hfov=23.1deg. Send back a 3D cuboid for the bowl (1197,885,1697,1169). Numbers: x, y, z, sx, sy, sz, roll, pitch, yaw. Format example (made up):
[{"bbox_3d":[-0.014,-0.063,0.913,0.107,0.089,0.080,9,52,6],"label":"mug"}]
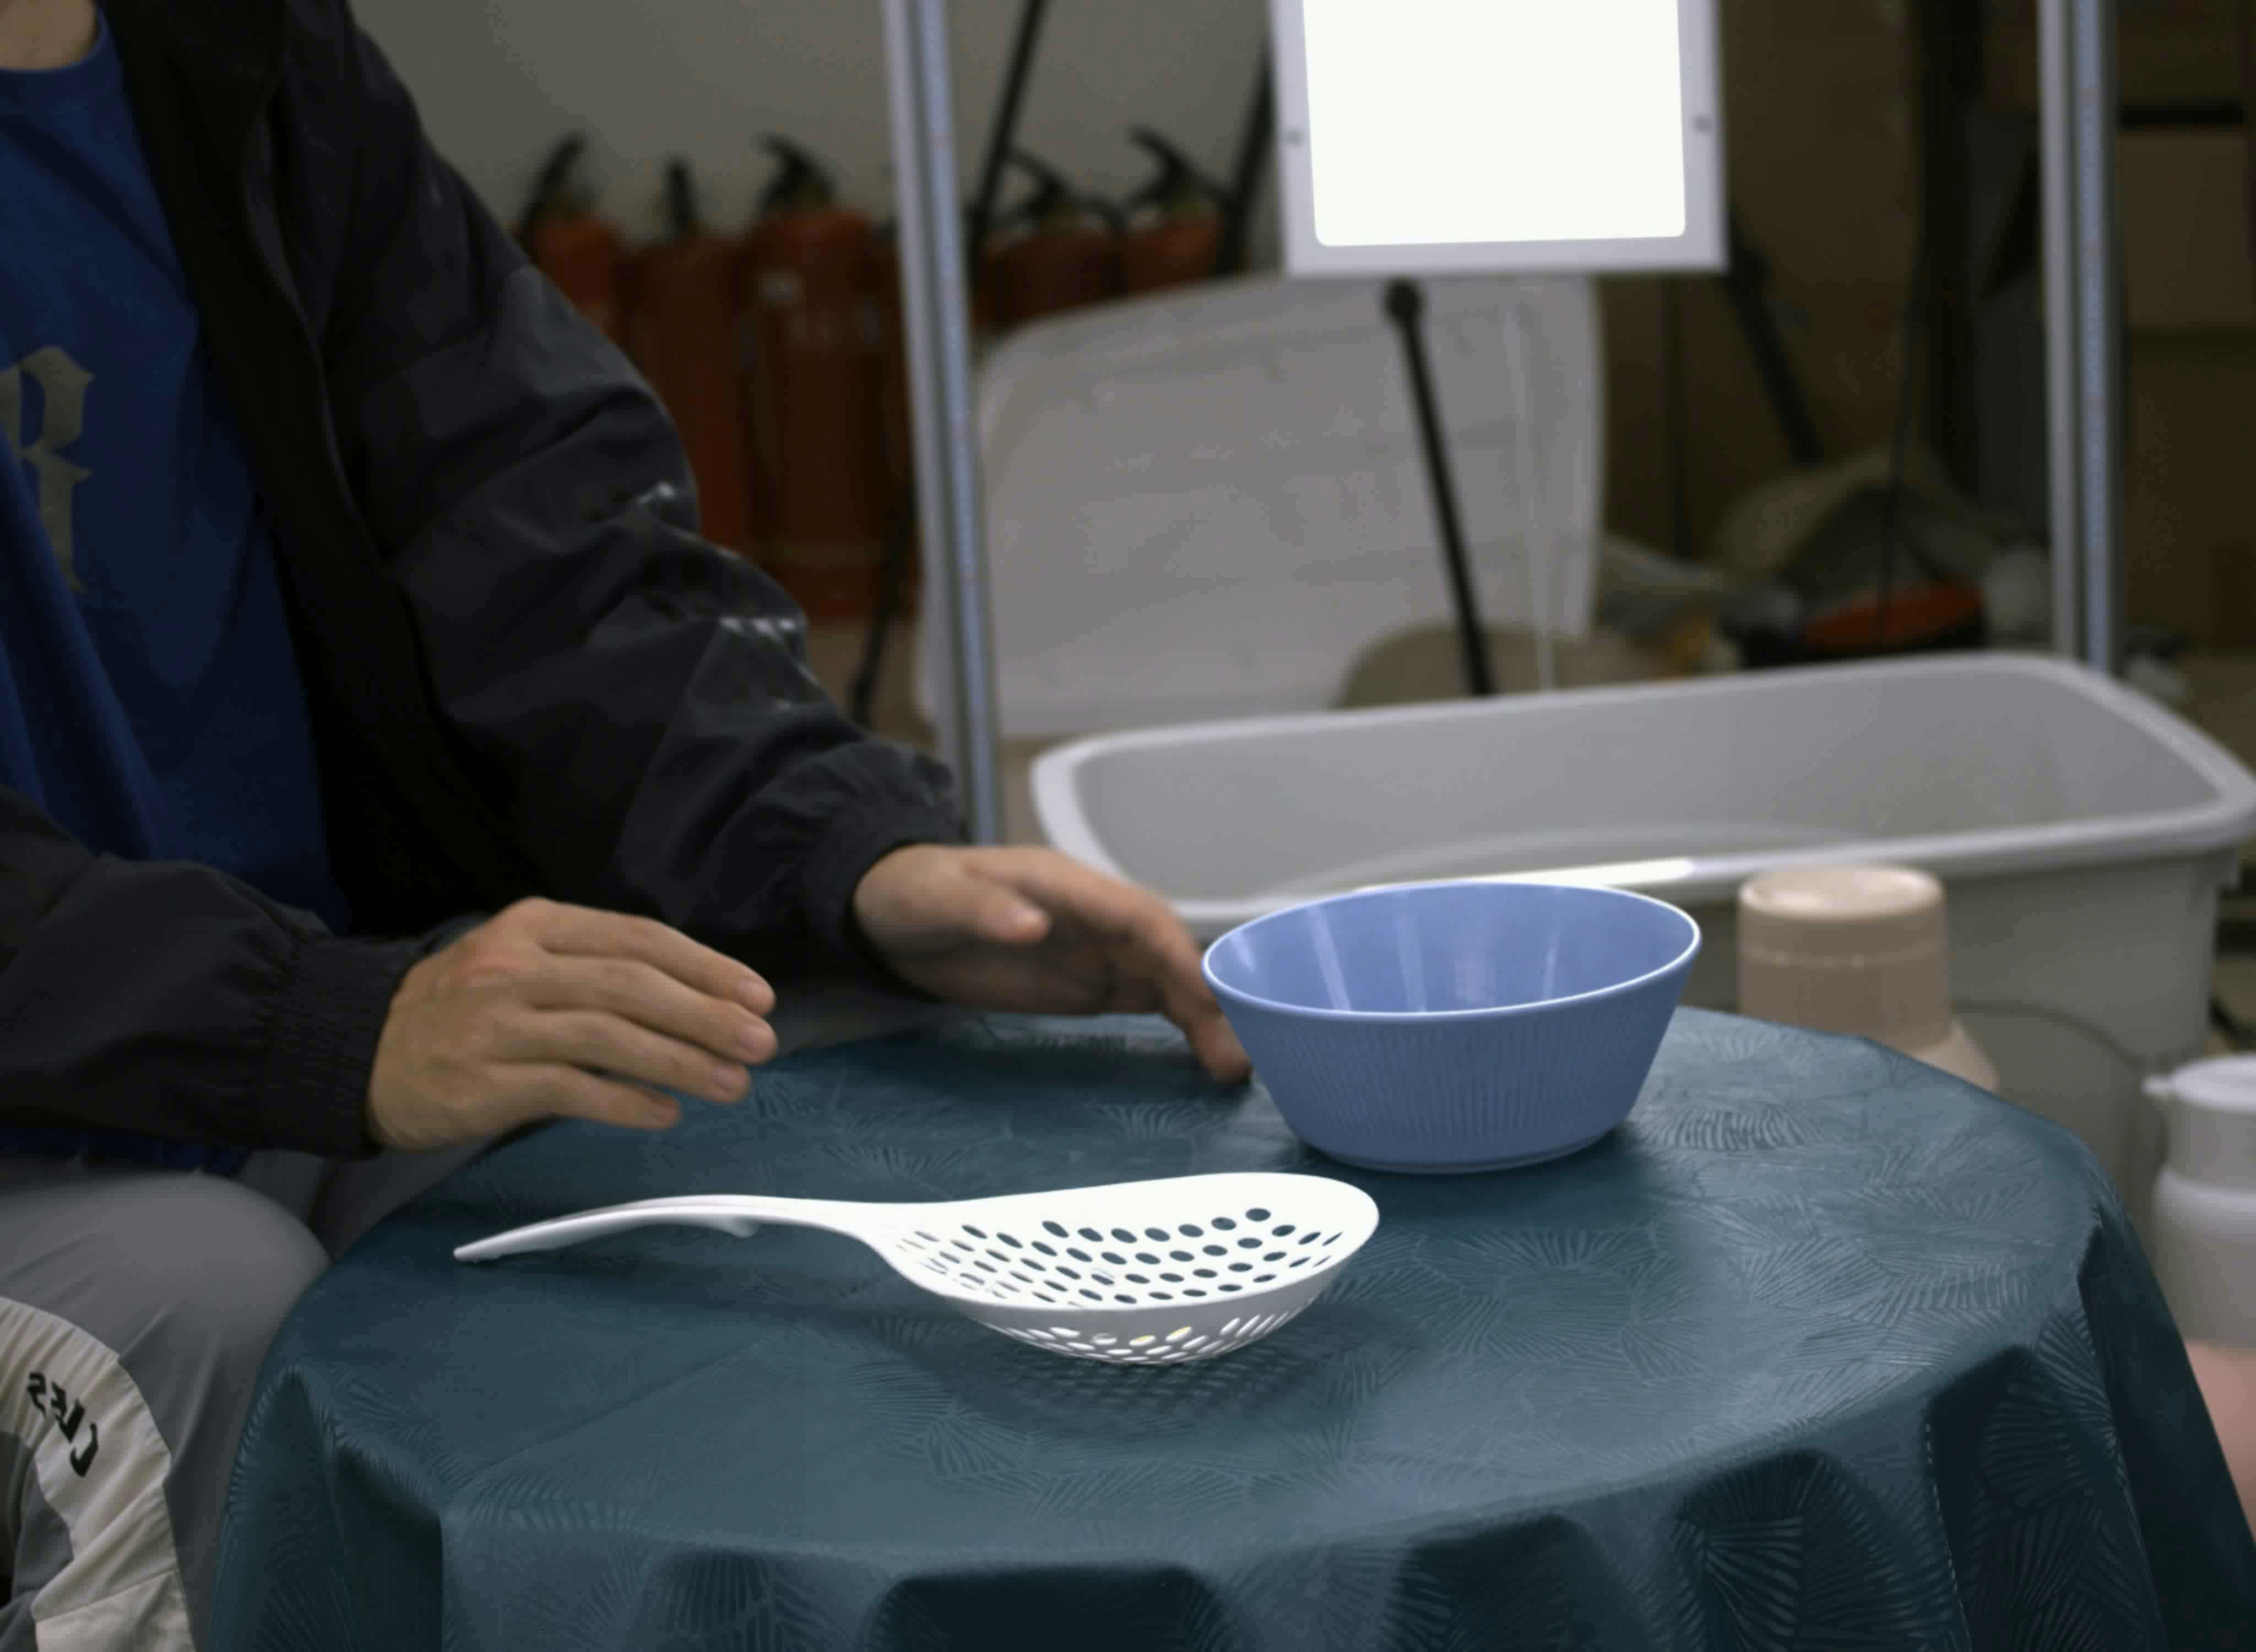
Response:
[{"bbox_3d":[0.114,0.072,1.927,0.175,0.070,0.176,-5,13,0],"label":"bowl"}]

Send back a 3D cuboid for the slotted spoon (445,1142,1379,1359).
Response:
[{"bbox_3d":[-0.080,0.138,1.790,0.355,0.050,0.133,3,20,33],"label":"slotted spoon"}]
